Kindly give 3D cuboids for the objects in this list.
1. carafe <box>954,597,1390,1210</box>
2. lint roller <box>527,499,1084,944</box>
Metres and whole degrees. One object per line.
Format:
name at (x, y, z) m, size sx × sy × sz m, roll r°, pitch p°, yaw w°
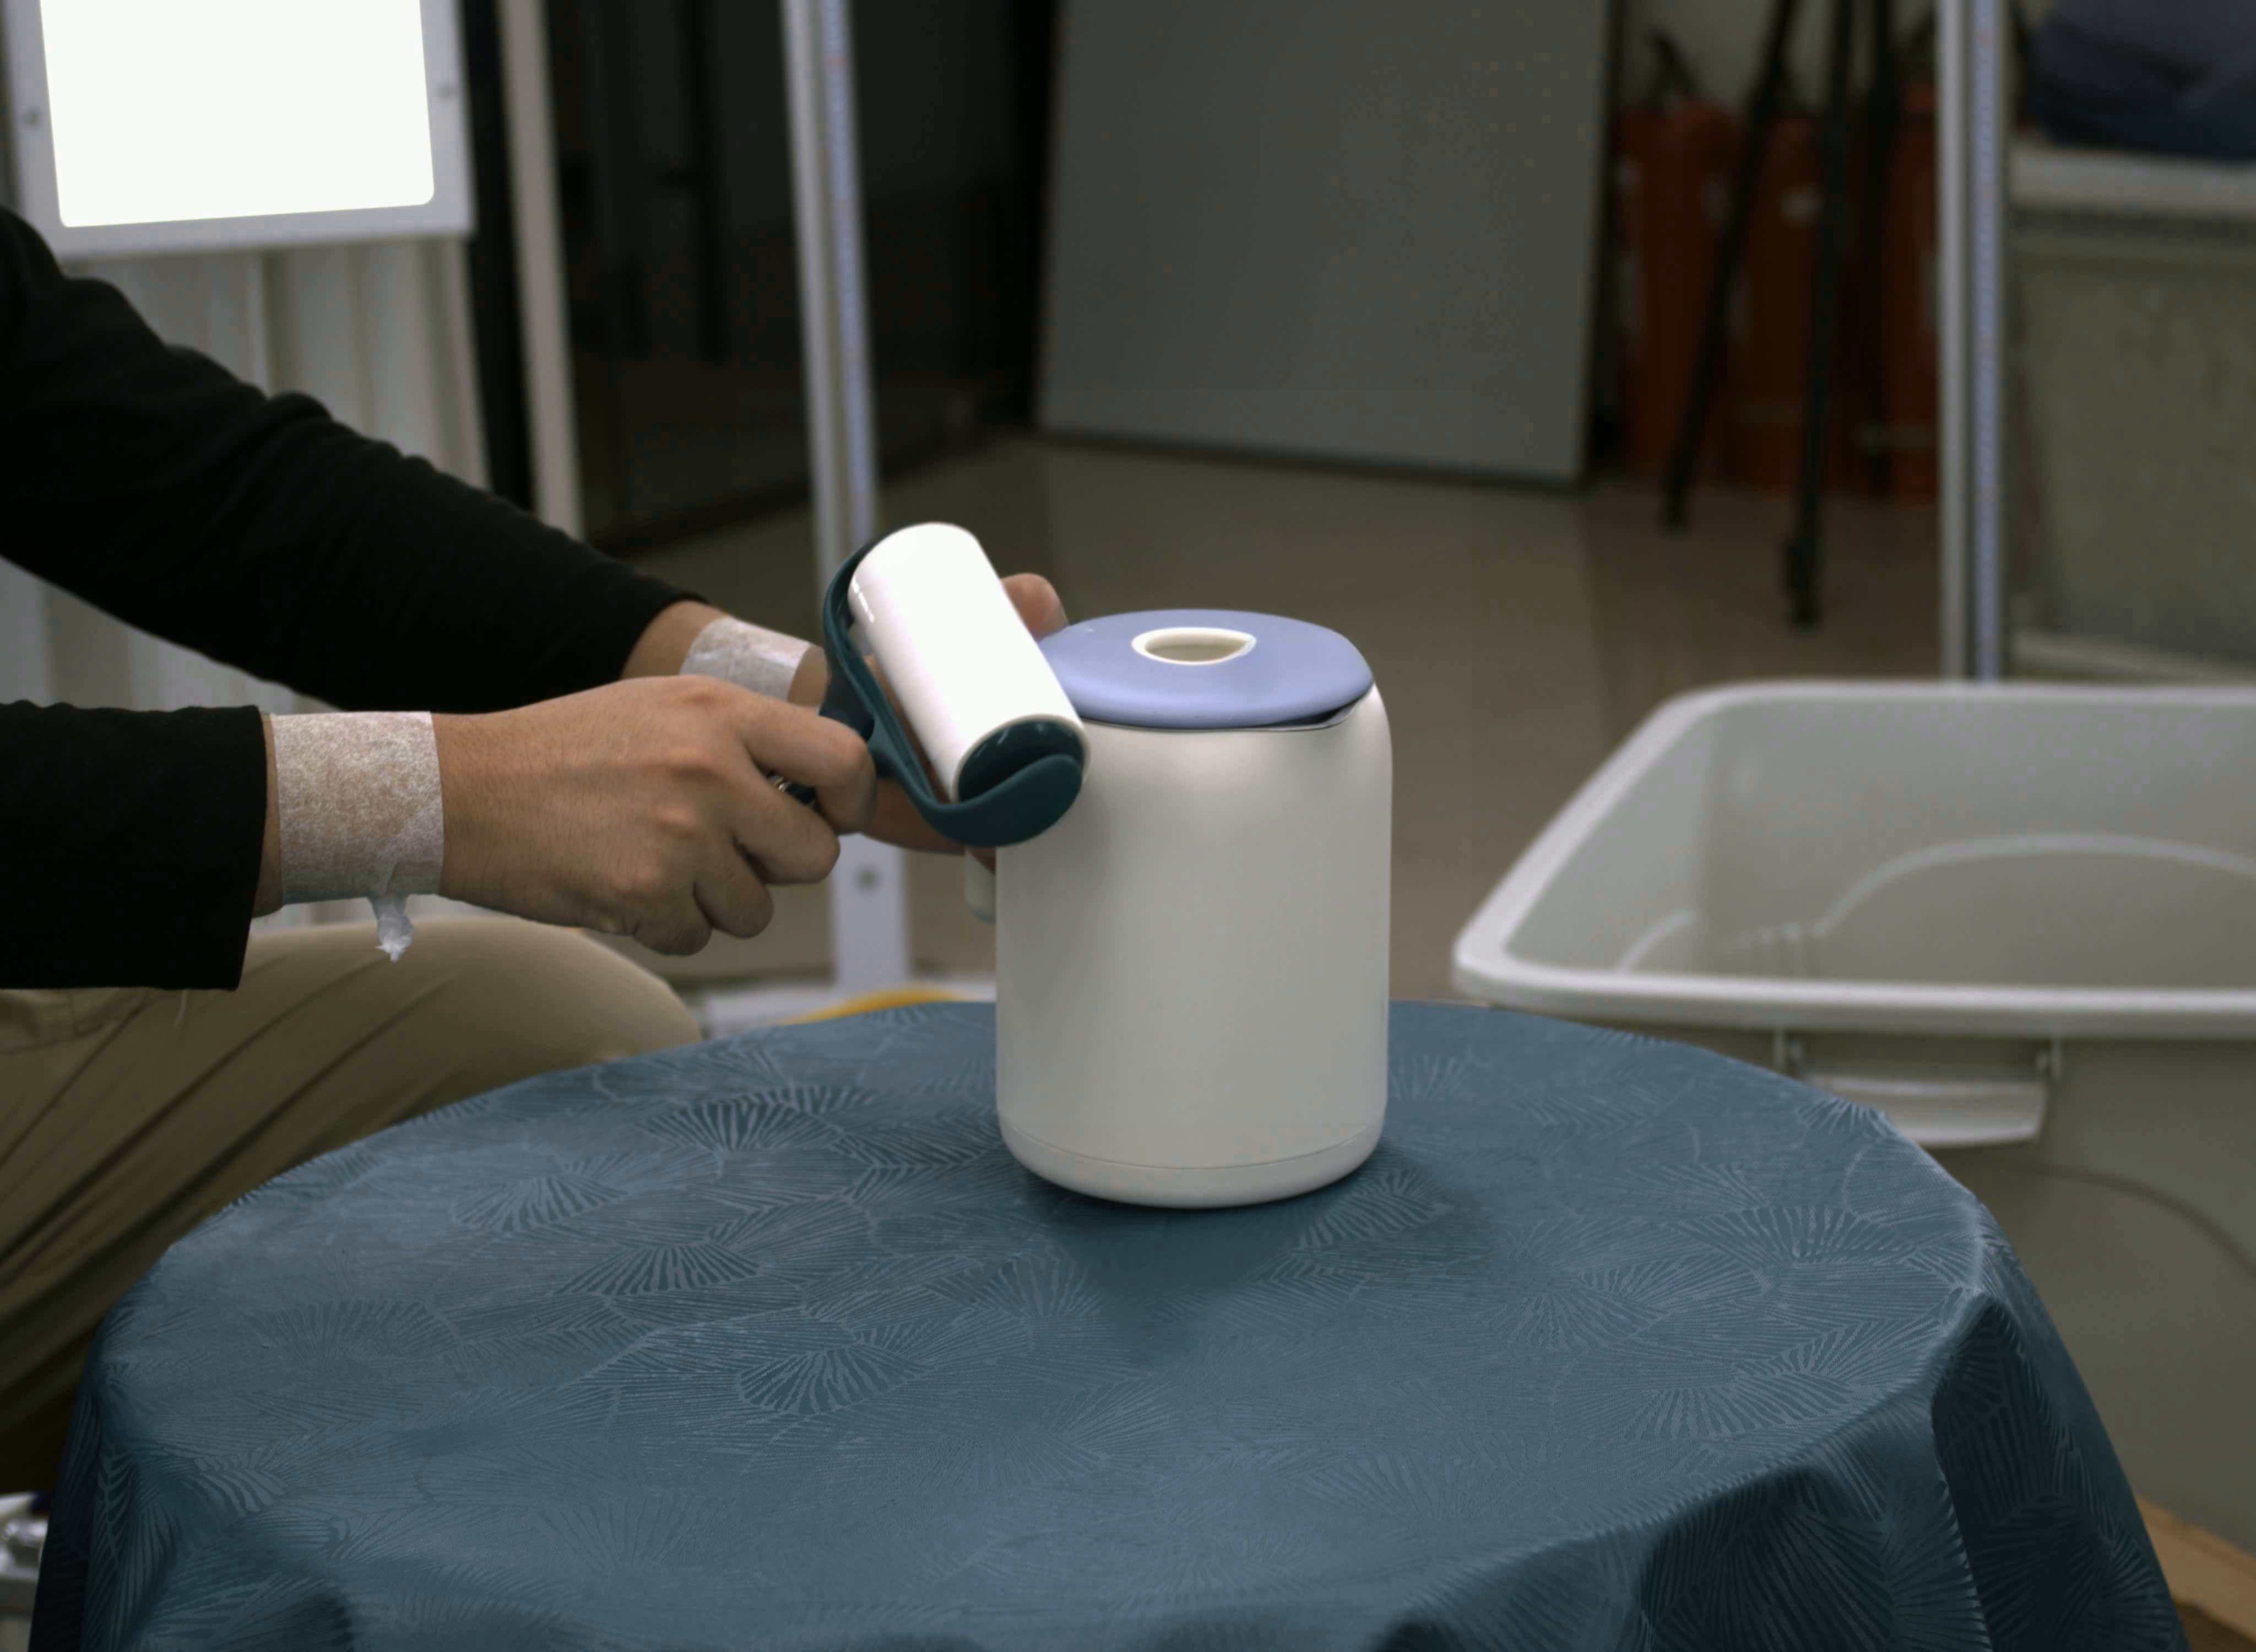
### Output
carafe at (0.006, 0.019, 1.792) m, size 0.129 × 0.184 × 0.193 m, roll -13°, pitch 19°, yaw -37°
lint roller at (-0.112, -0.020, 1.692) m, size 0.178 × 0.048 × 0.136 m, roll -25°, pitch 44°, yaw -5°
